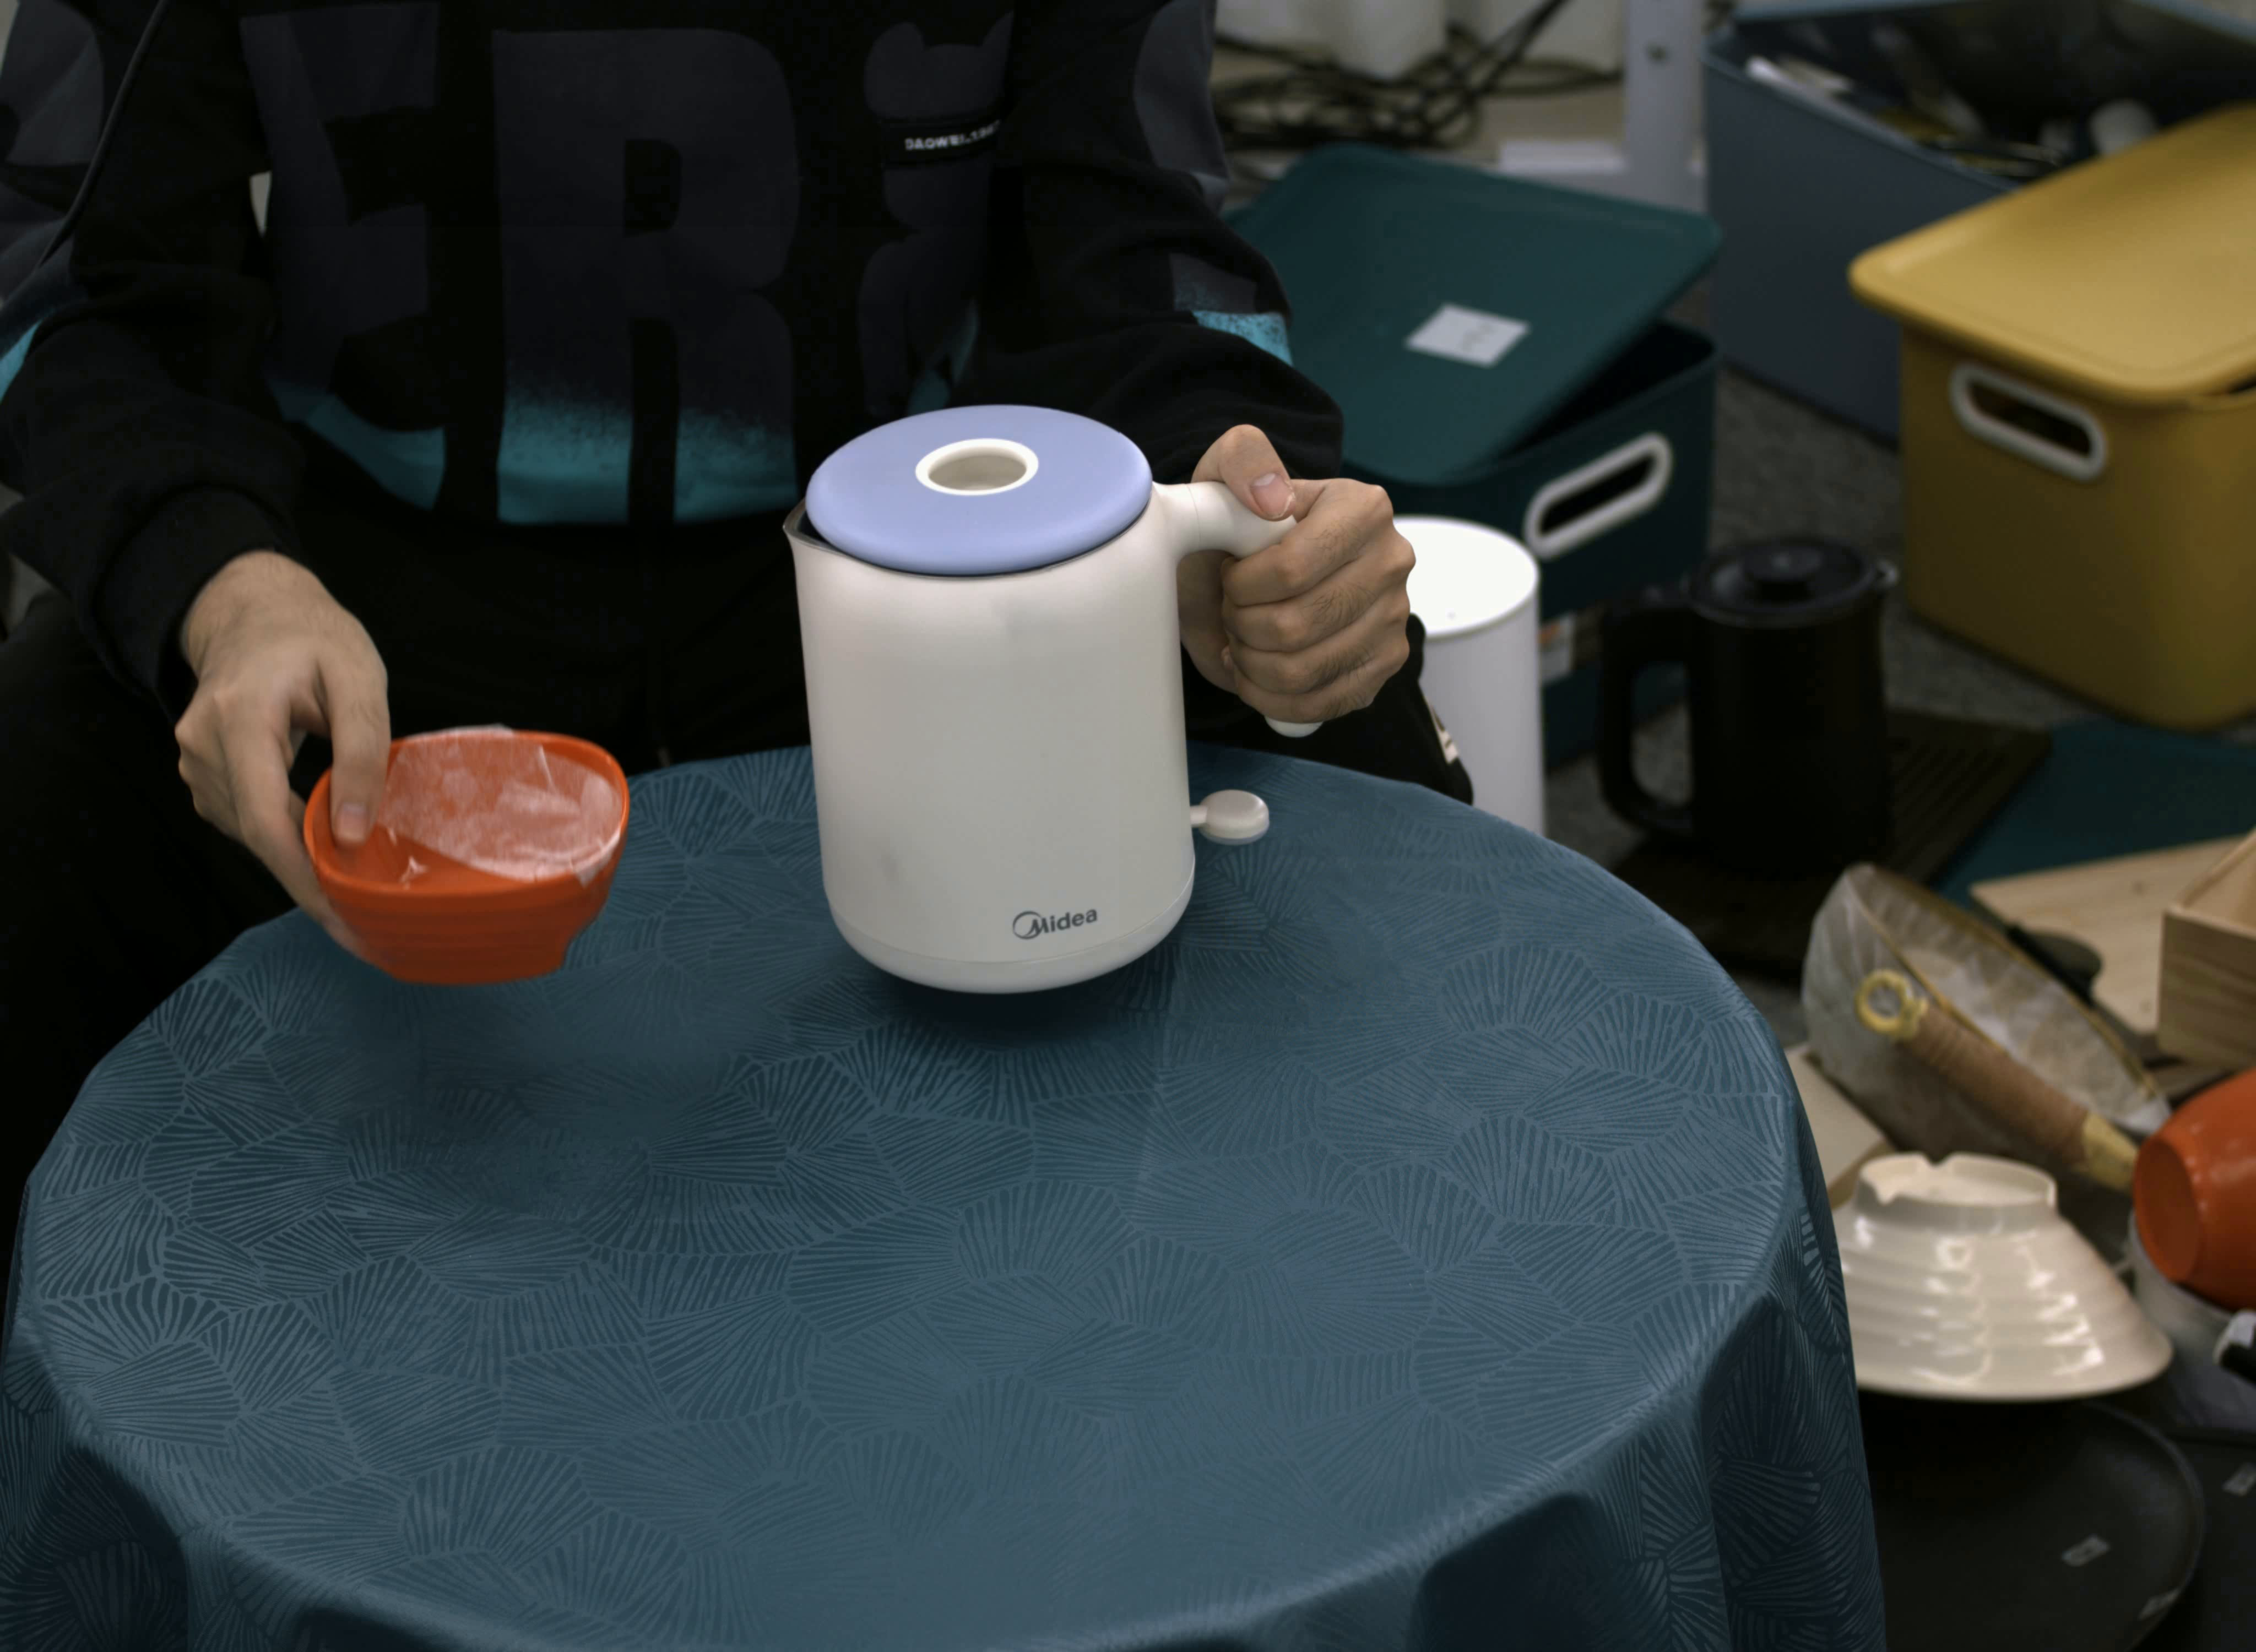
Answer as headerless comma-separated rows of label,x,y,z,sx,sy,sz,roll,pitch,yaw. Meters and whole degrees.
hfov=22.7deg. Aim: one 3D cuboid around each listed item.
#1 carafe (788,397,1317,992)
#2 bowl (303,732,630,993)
carafe,-0.023,-0.050,1.956,0.191,0.180,0.133,-9,31,-16
bowl,-0.221,0.018,1.901,0.118,0.051,0.121,-2,31,1
